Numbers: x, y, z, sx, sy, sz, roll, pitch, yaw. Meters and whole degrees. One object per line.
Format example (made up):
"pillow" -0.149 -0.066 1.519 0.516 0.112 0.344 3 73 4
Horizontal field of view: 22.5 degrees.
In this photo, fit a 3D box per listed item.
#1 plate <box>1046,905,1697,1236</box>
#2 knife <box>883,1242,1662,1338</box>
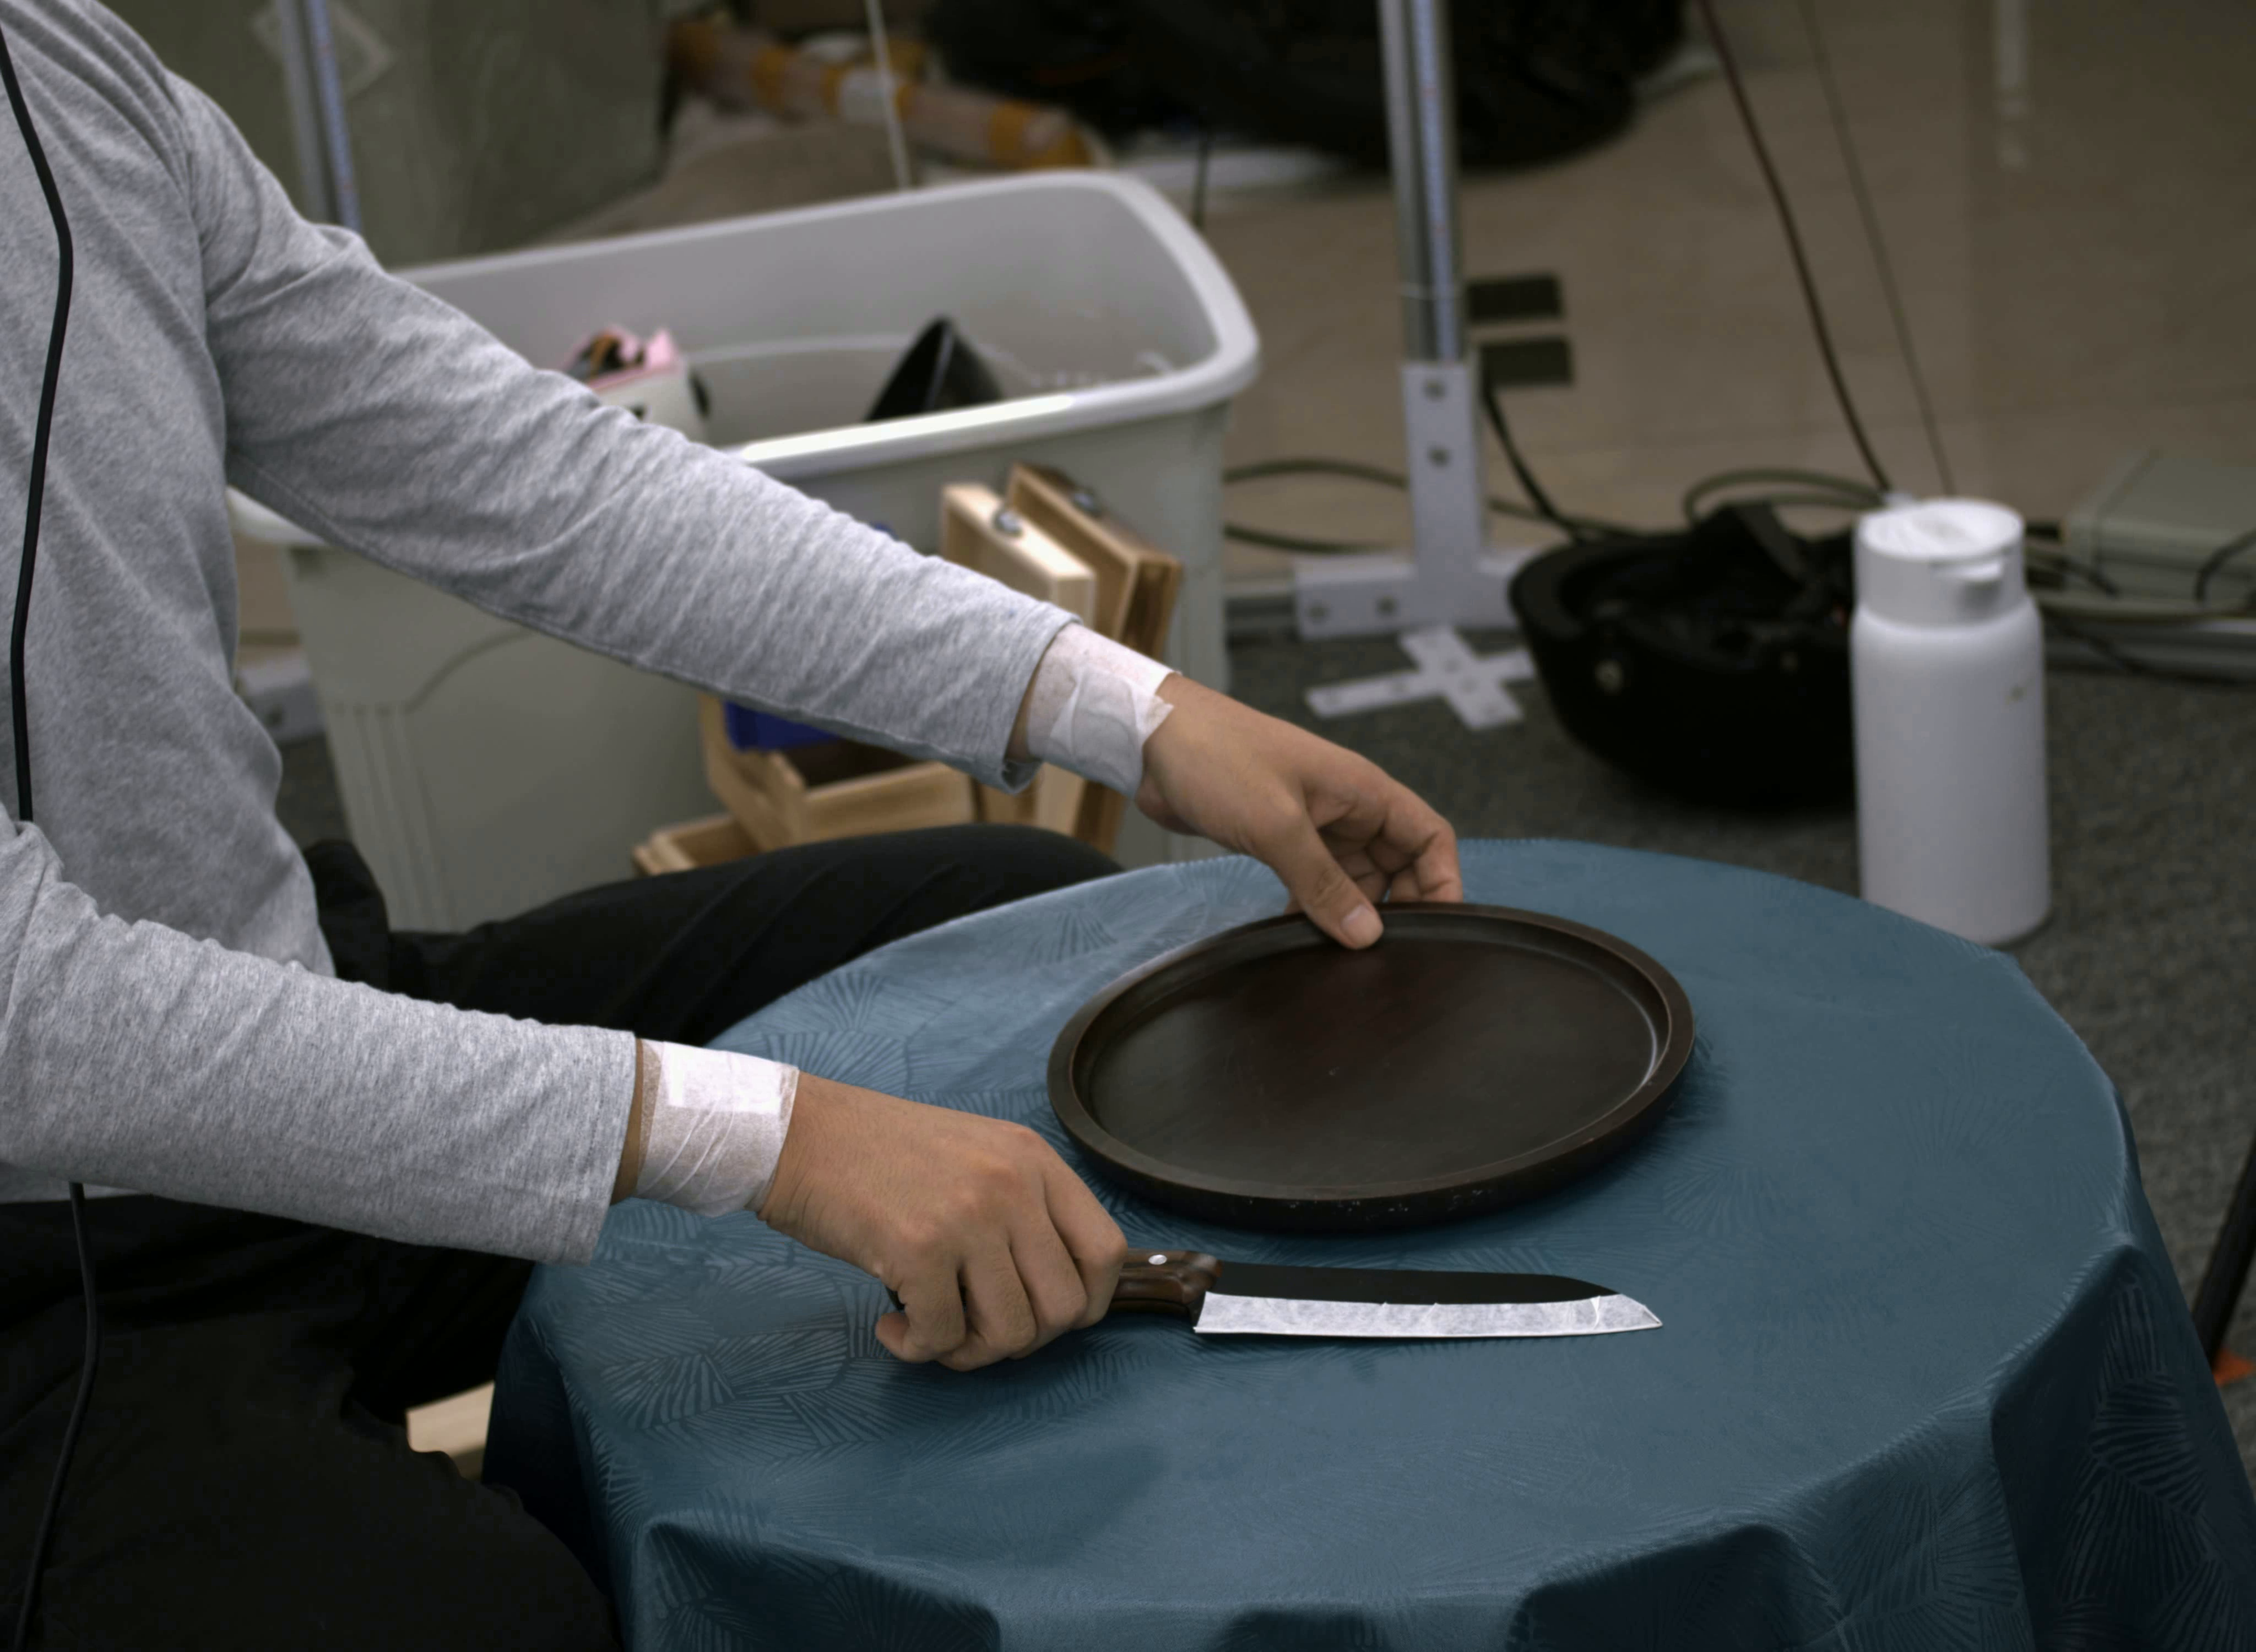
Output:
"plate" 0.094 0.093 2.199 0.254 0.029 0.251 -7 26 3
"knife" 0.050 0.170 2.054 0.288 0.020 0.049 2 31 12
